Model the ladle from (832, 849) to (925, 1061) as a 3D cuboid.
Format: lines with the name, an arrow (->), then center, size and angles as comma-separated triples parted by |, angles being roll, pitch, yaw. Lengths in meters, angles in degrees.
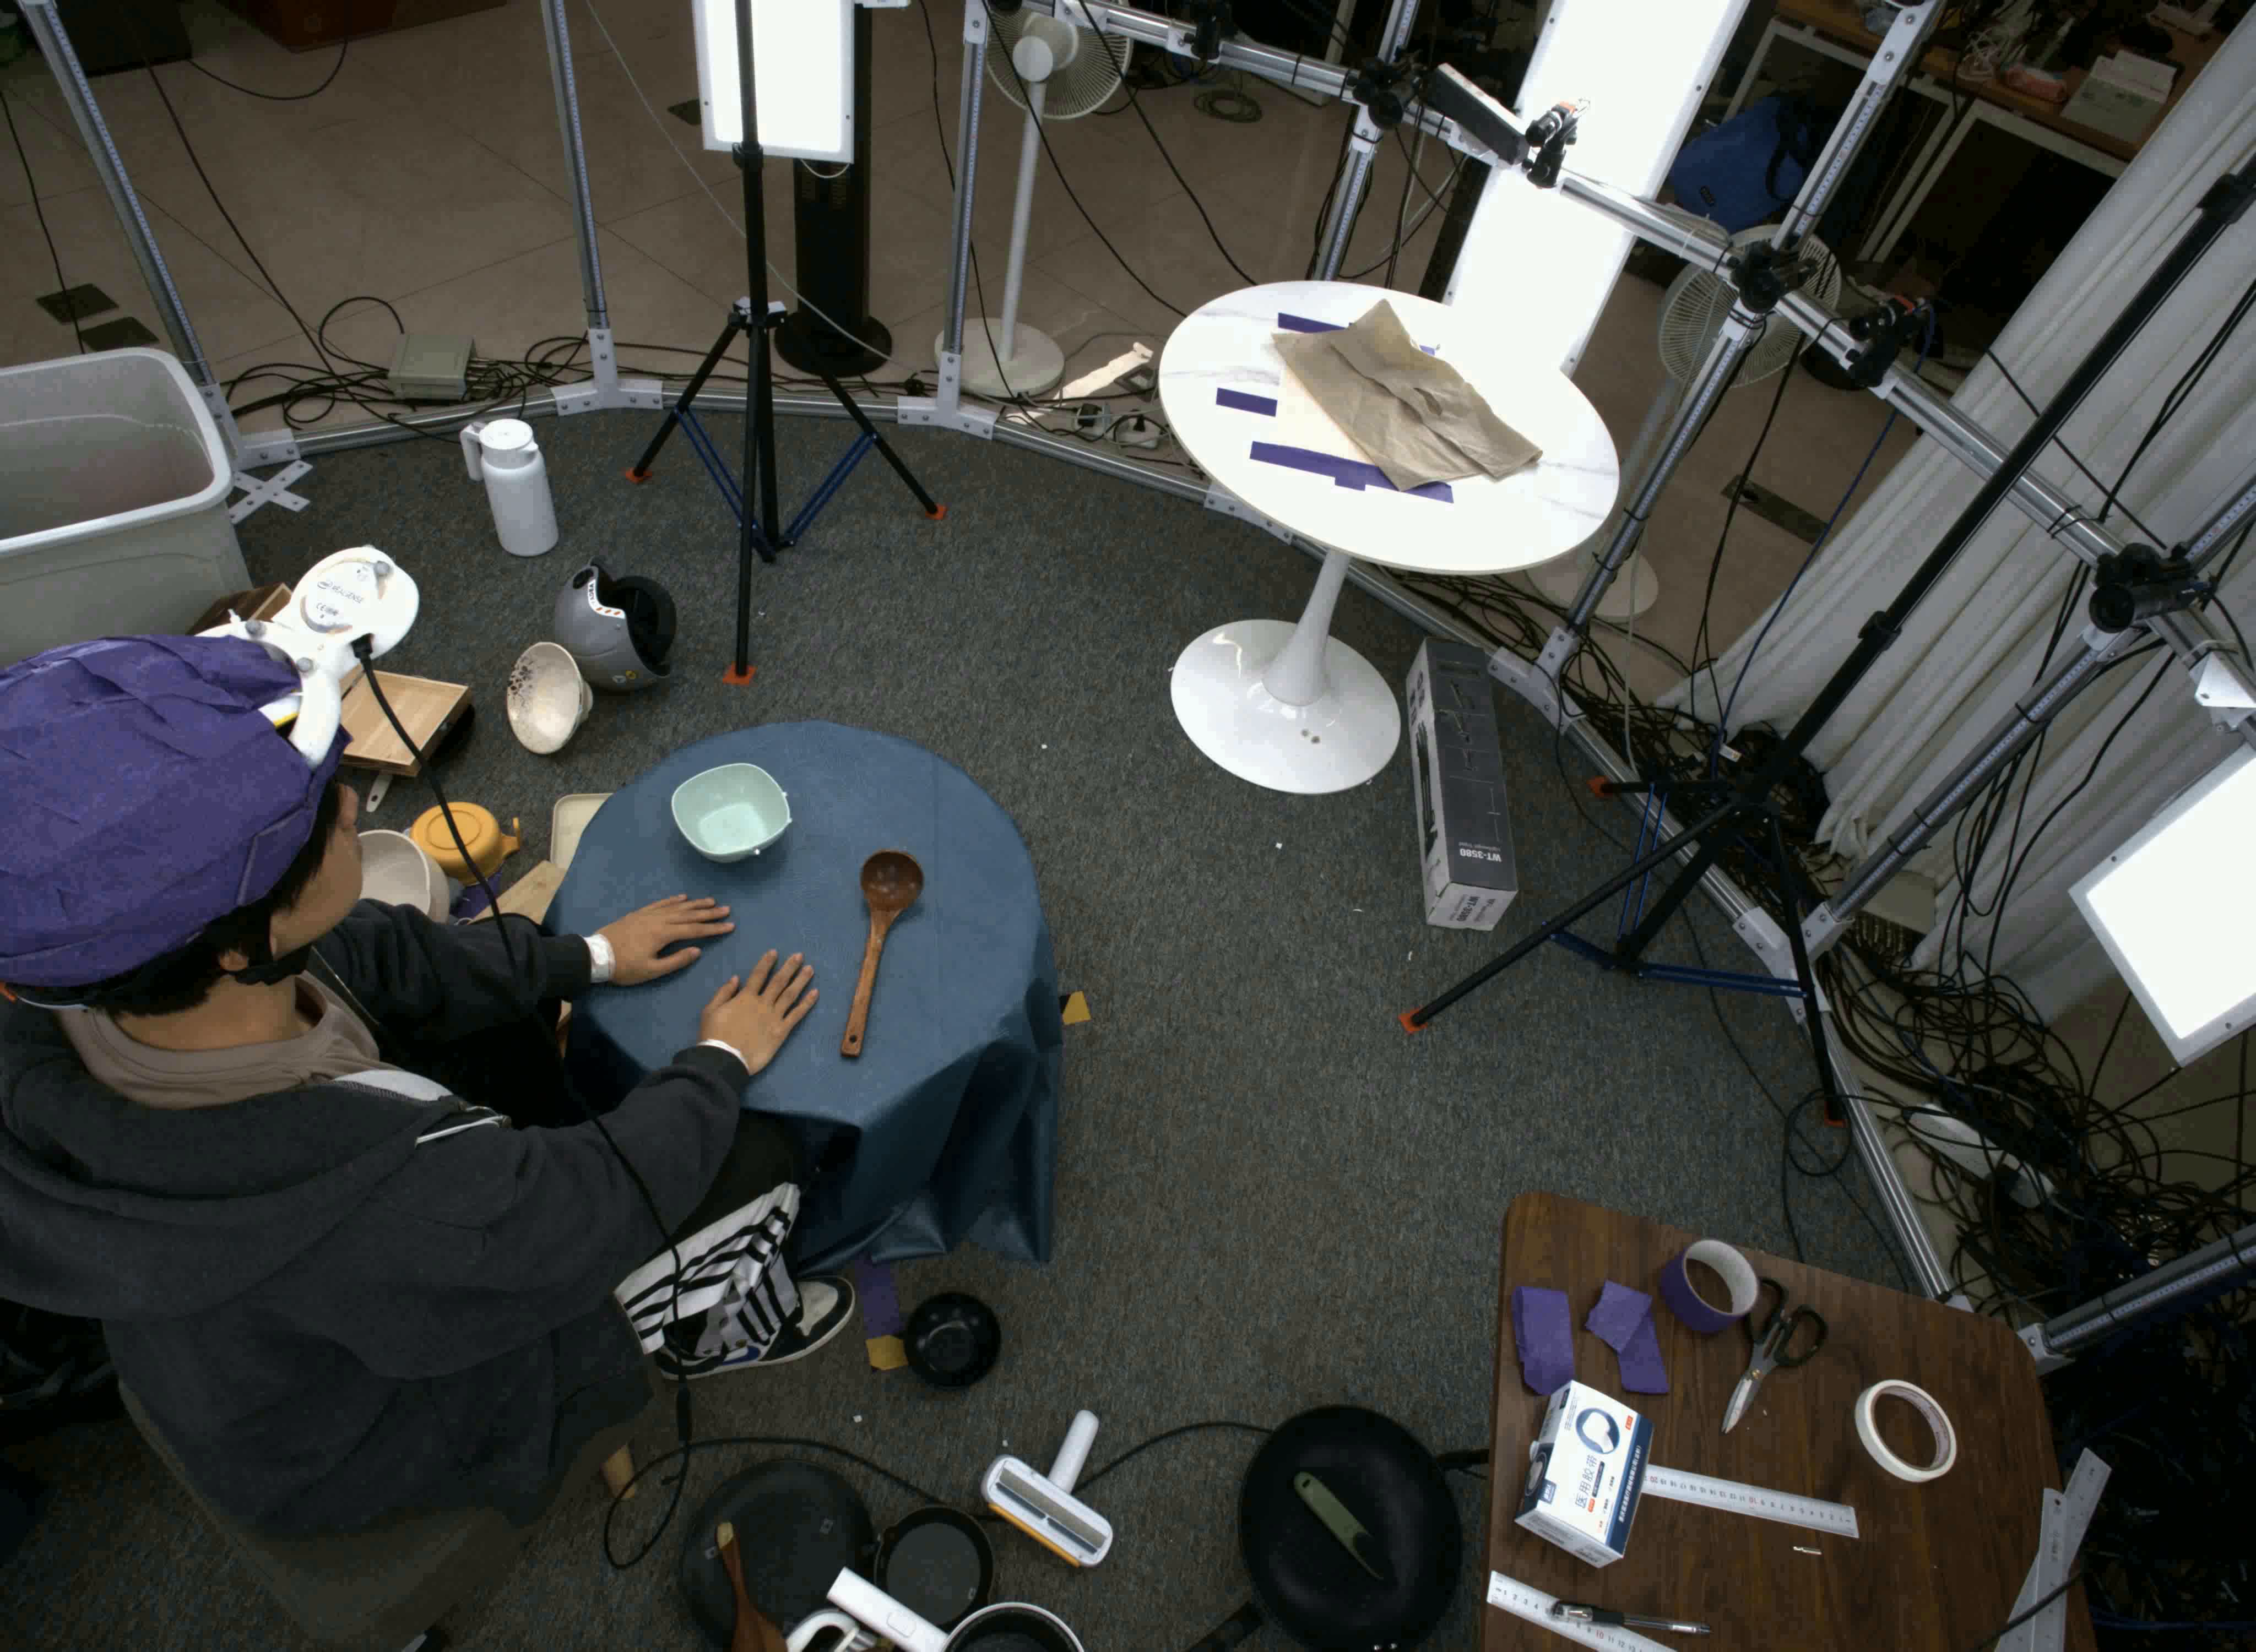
ladle -> -0.313, 0.150, 1.595 | 0.082, 0.078, 0.270 | 15, 51, -7

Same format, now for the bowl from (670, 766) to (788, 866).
bowl -> -0.515, -0.004, 1.671 | 0.151, 0.060, 0.148 | 10, 51, -10
